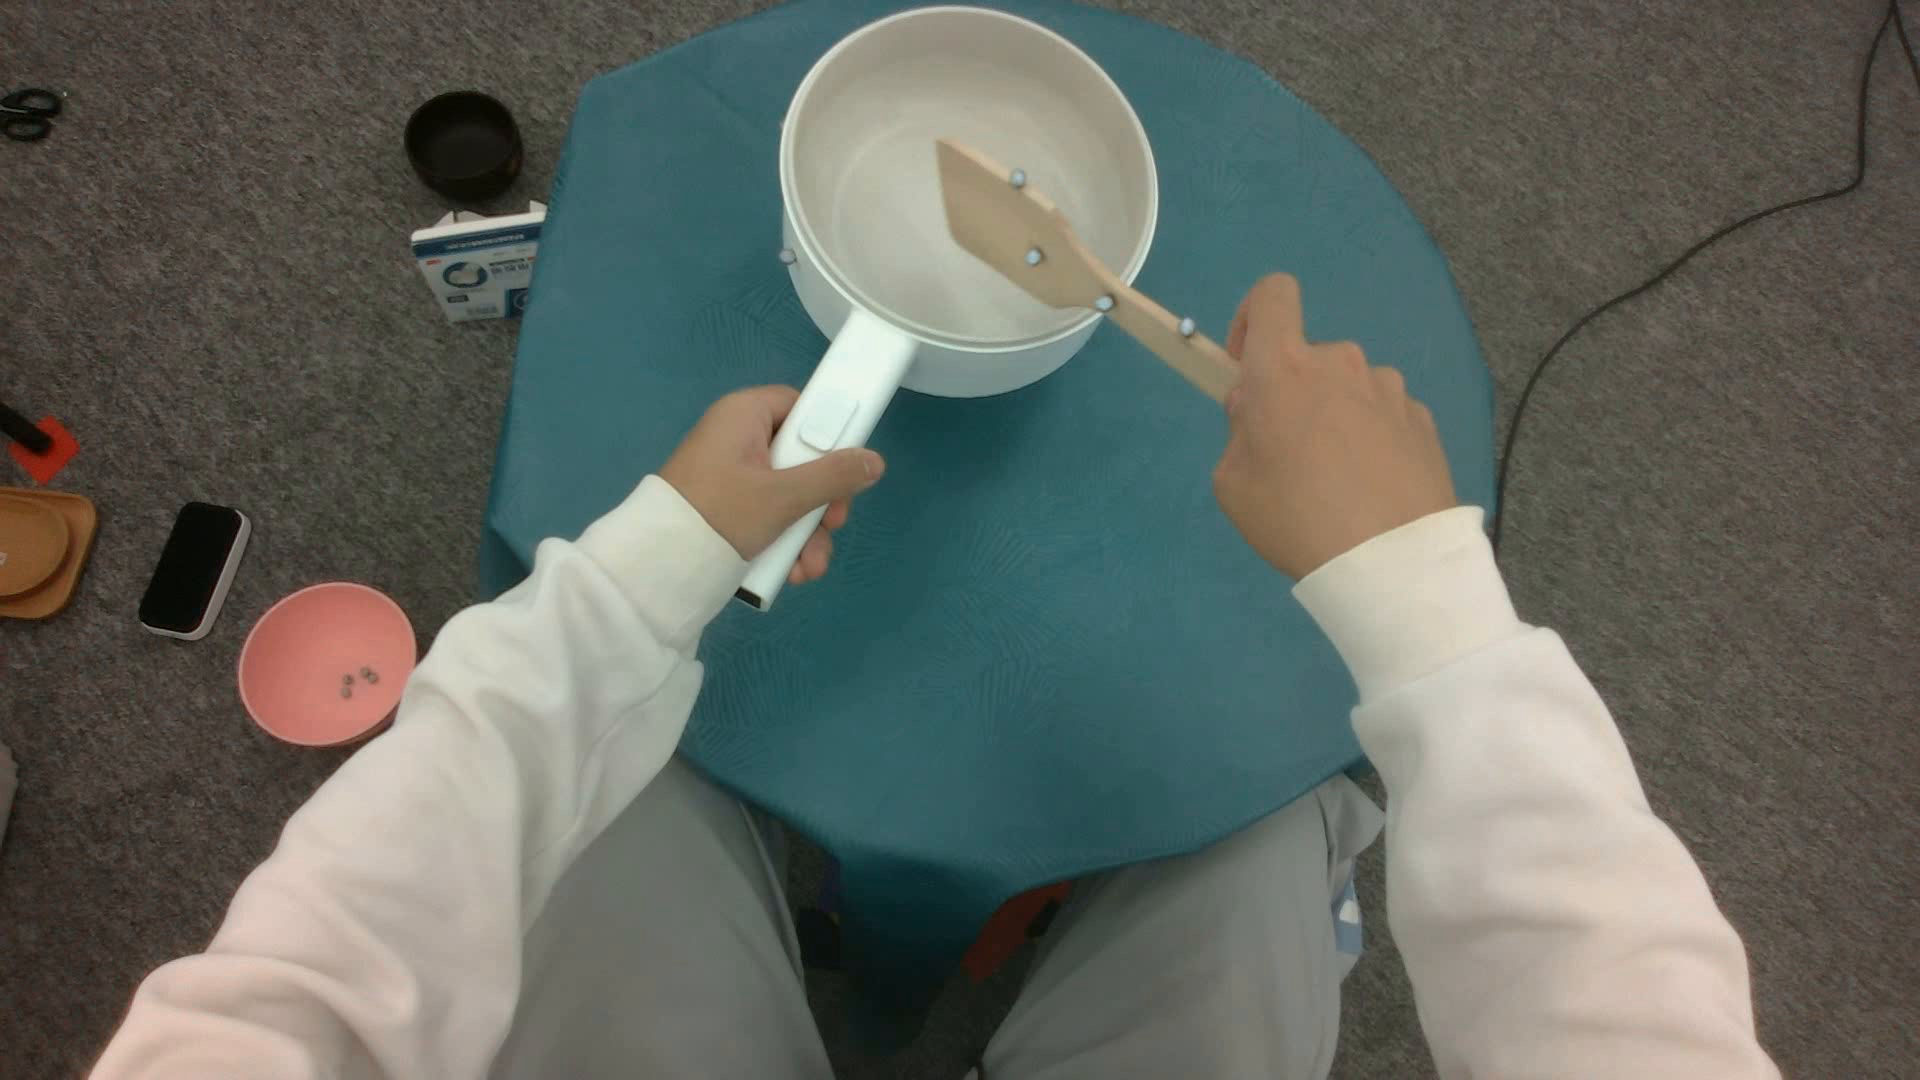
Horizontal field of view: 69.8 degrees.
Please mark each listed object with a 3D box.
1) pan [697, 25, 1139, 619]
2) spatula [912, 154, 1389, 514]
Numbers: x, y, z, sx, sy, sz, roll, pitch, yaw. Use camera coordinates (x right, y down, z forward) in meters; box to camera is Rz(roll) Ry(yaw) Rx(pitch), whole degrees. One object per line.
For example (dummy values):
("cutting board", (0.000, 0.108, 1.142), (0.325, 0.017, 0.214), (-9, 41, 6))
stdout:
("pan", (-0.040, -0.112, 0.754), (0.201, 0.102, 0.356), (26, 71, -1))
("spatula", (0.080, -0.098, 0.651), (0.011, 0.072, 0.293), (-39, 59, -22))
